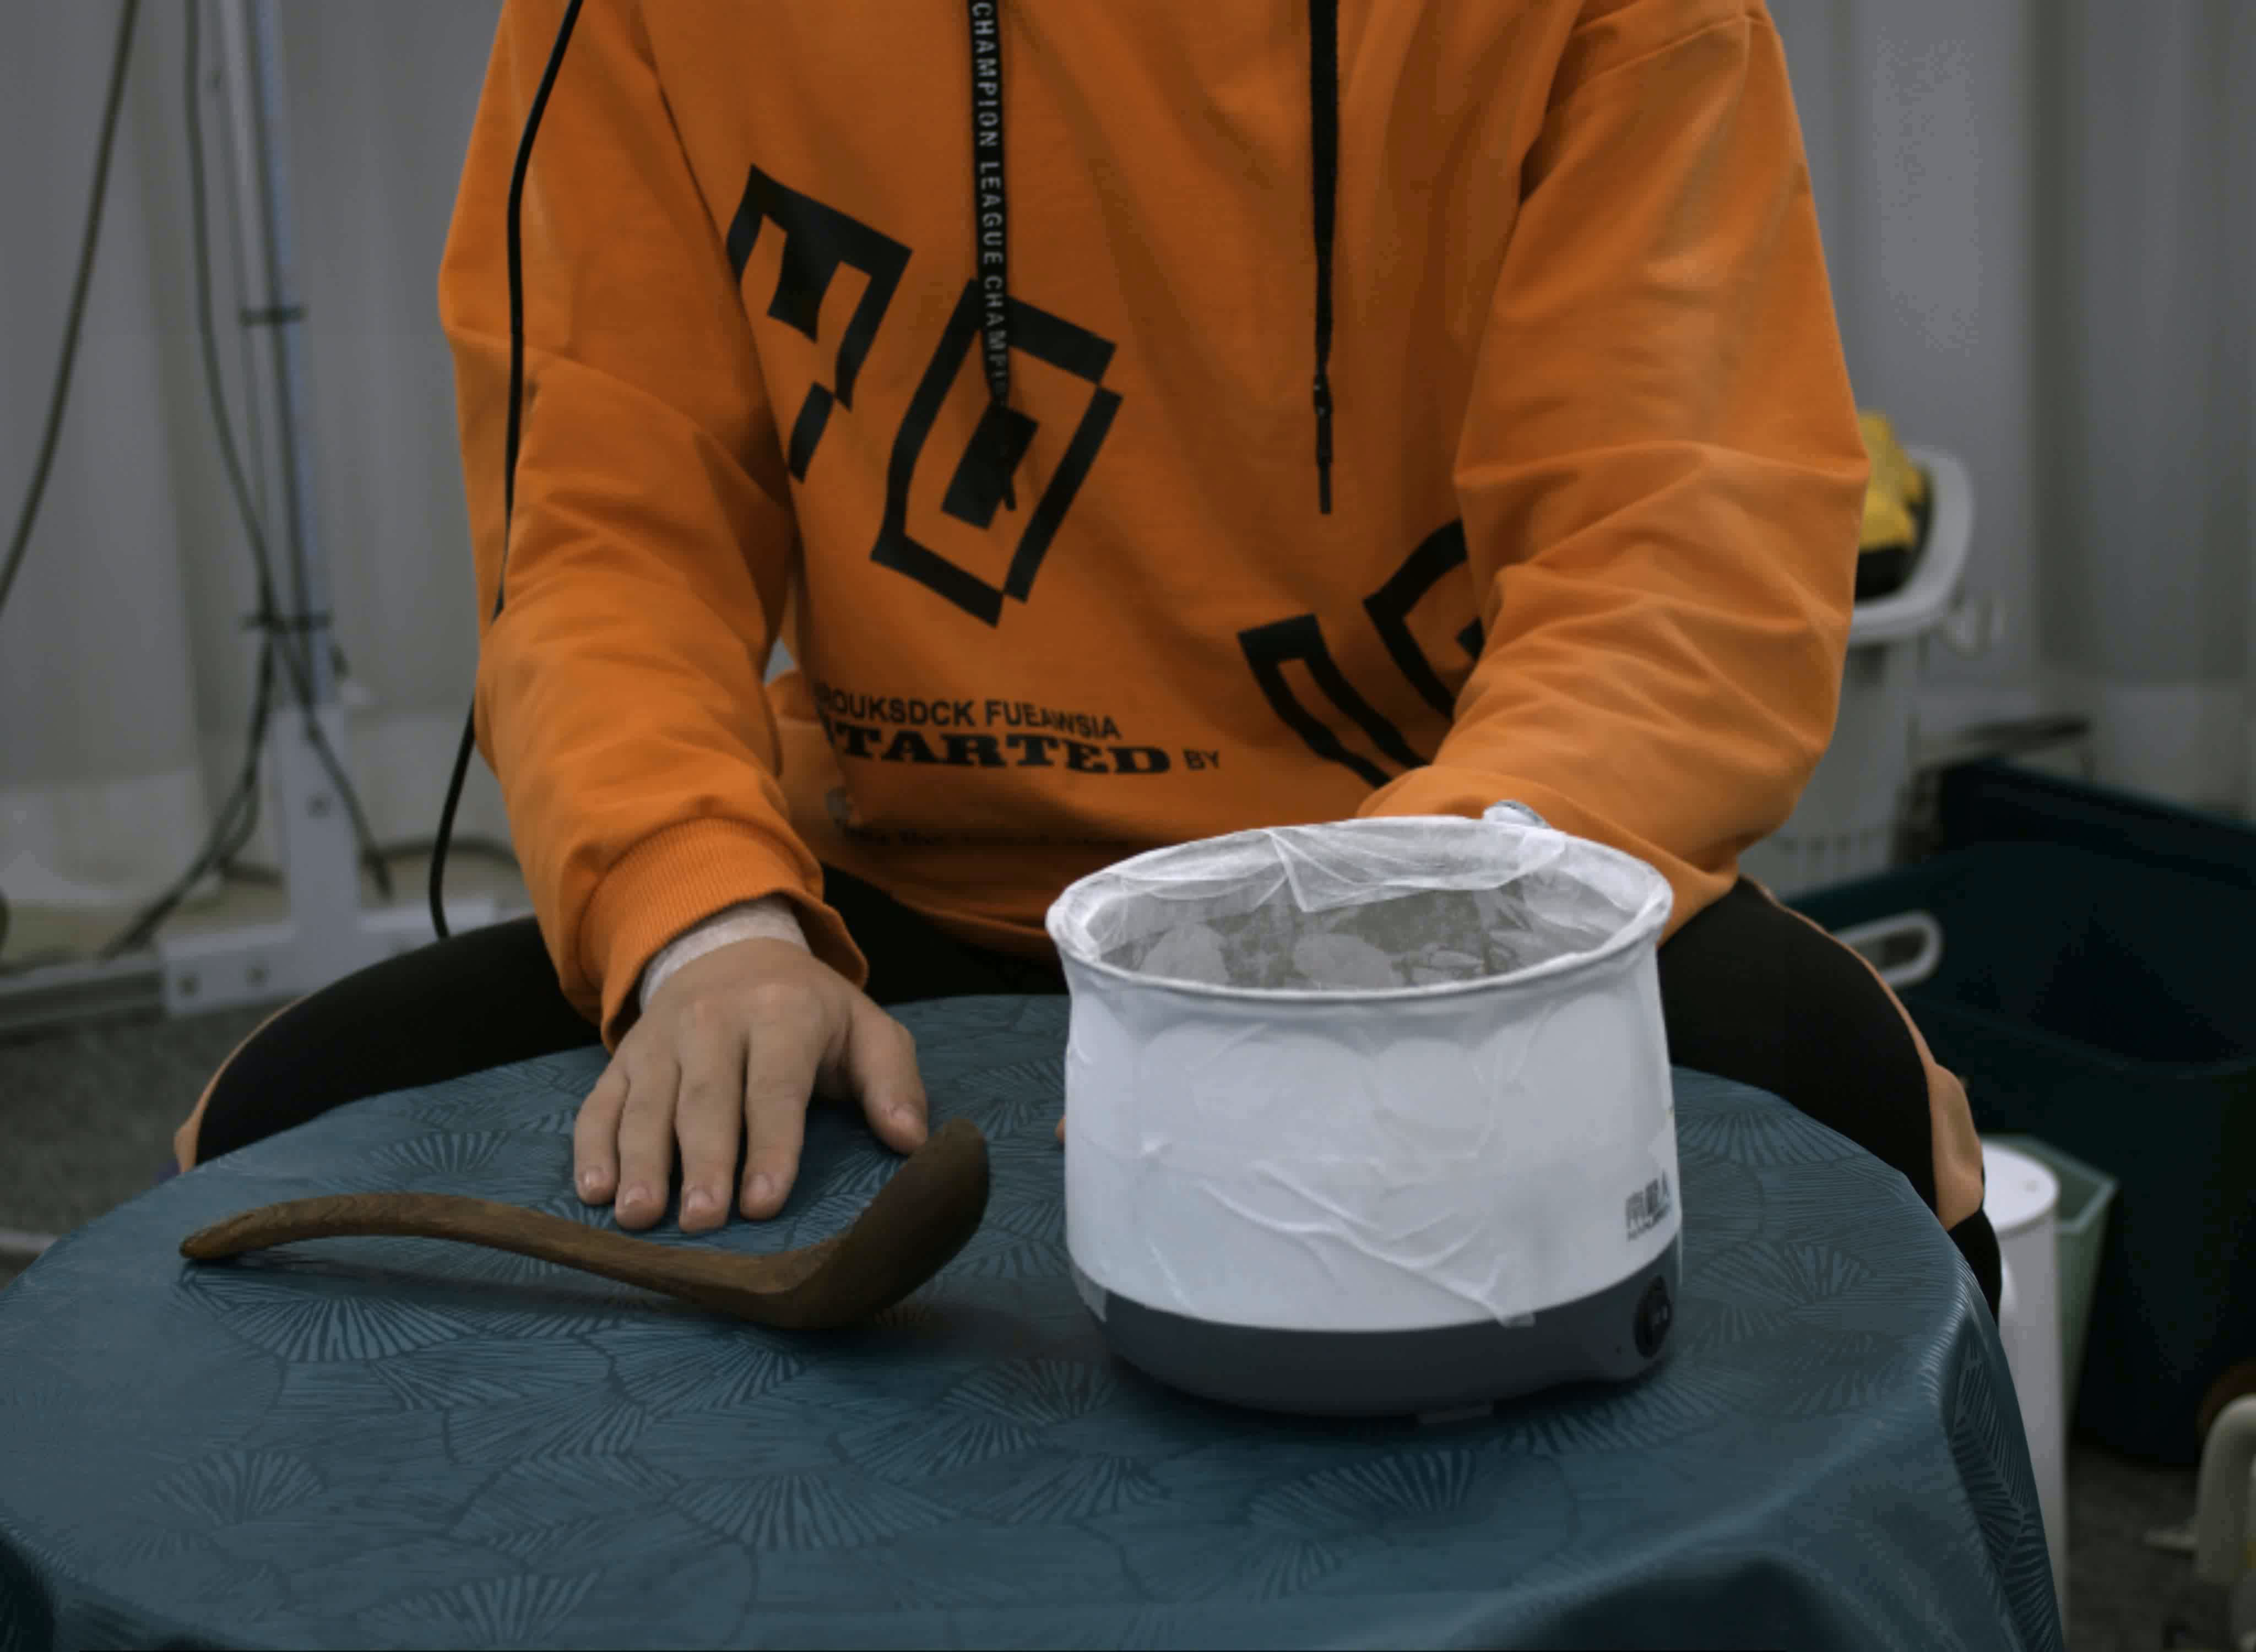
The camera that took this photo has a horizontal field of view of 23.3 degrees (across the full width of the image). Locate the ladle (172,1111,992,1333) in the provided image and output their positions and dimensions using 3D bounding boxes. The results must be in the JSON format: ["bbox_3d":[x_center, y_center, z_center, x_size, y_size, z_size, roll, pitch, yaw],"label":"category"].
[{"bbox_3d":[-0.168,0.108,1.639,0.274,0.071,0.076,5,13,24],"label":"ladle"}]

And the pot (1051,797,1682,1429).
[{"bbox_3d":[0.081,0.076,1.581,0.179,0.136,0.234,5,17,27],"label":"pot"}]
